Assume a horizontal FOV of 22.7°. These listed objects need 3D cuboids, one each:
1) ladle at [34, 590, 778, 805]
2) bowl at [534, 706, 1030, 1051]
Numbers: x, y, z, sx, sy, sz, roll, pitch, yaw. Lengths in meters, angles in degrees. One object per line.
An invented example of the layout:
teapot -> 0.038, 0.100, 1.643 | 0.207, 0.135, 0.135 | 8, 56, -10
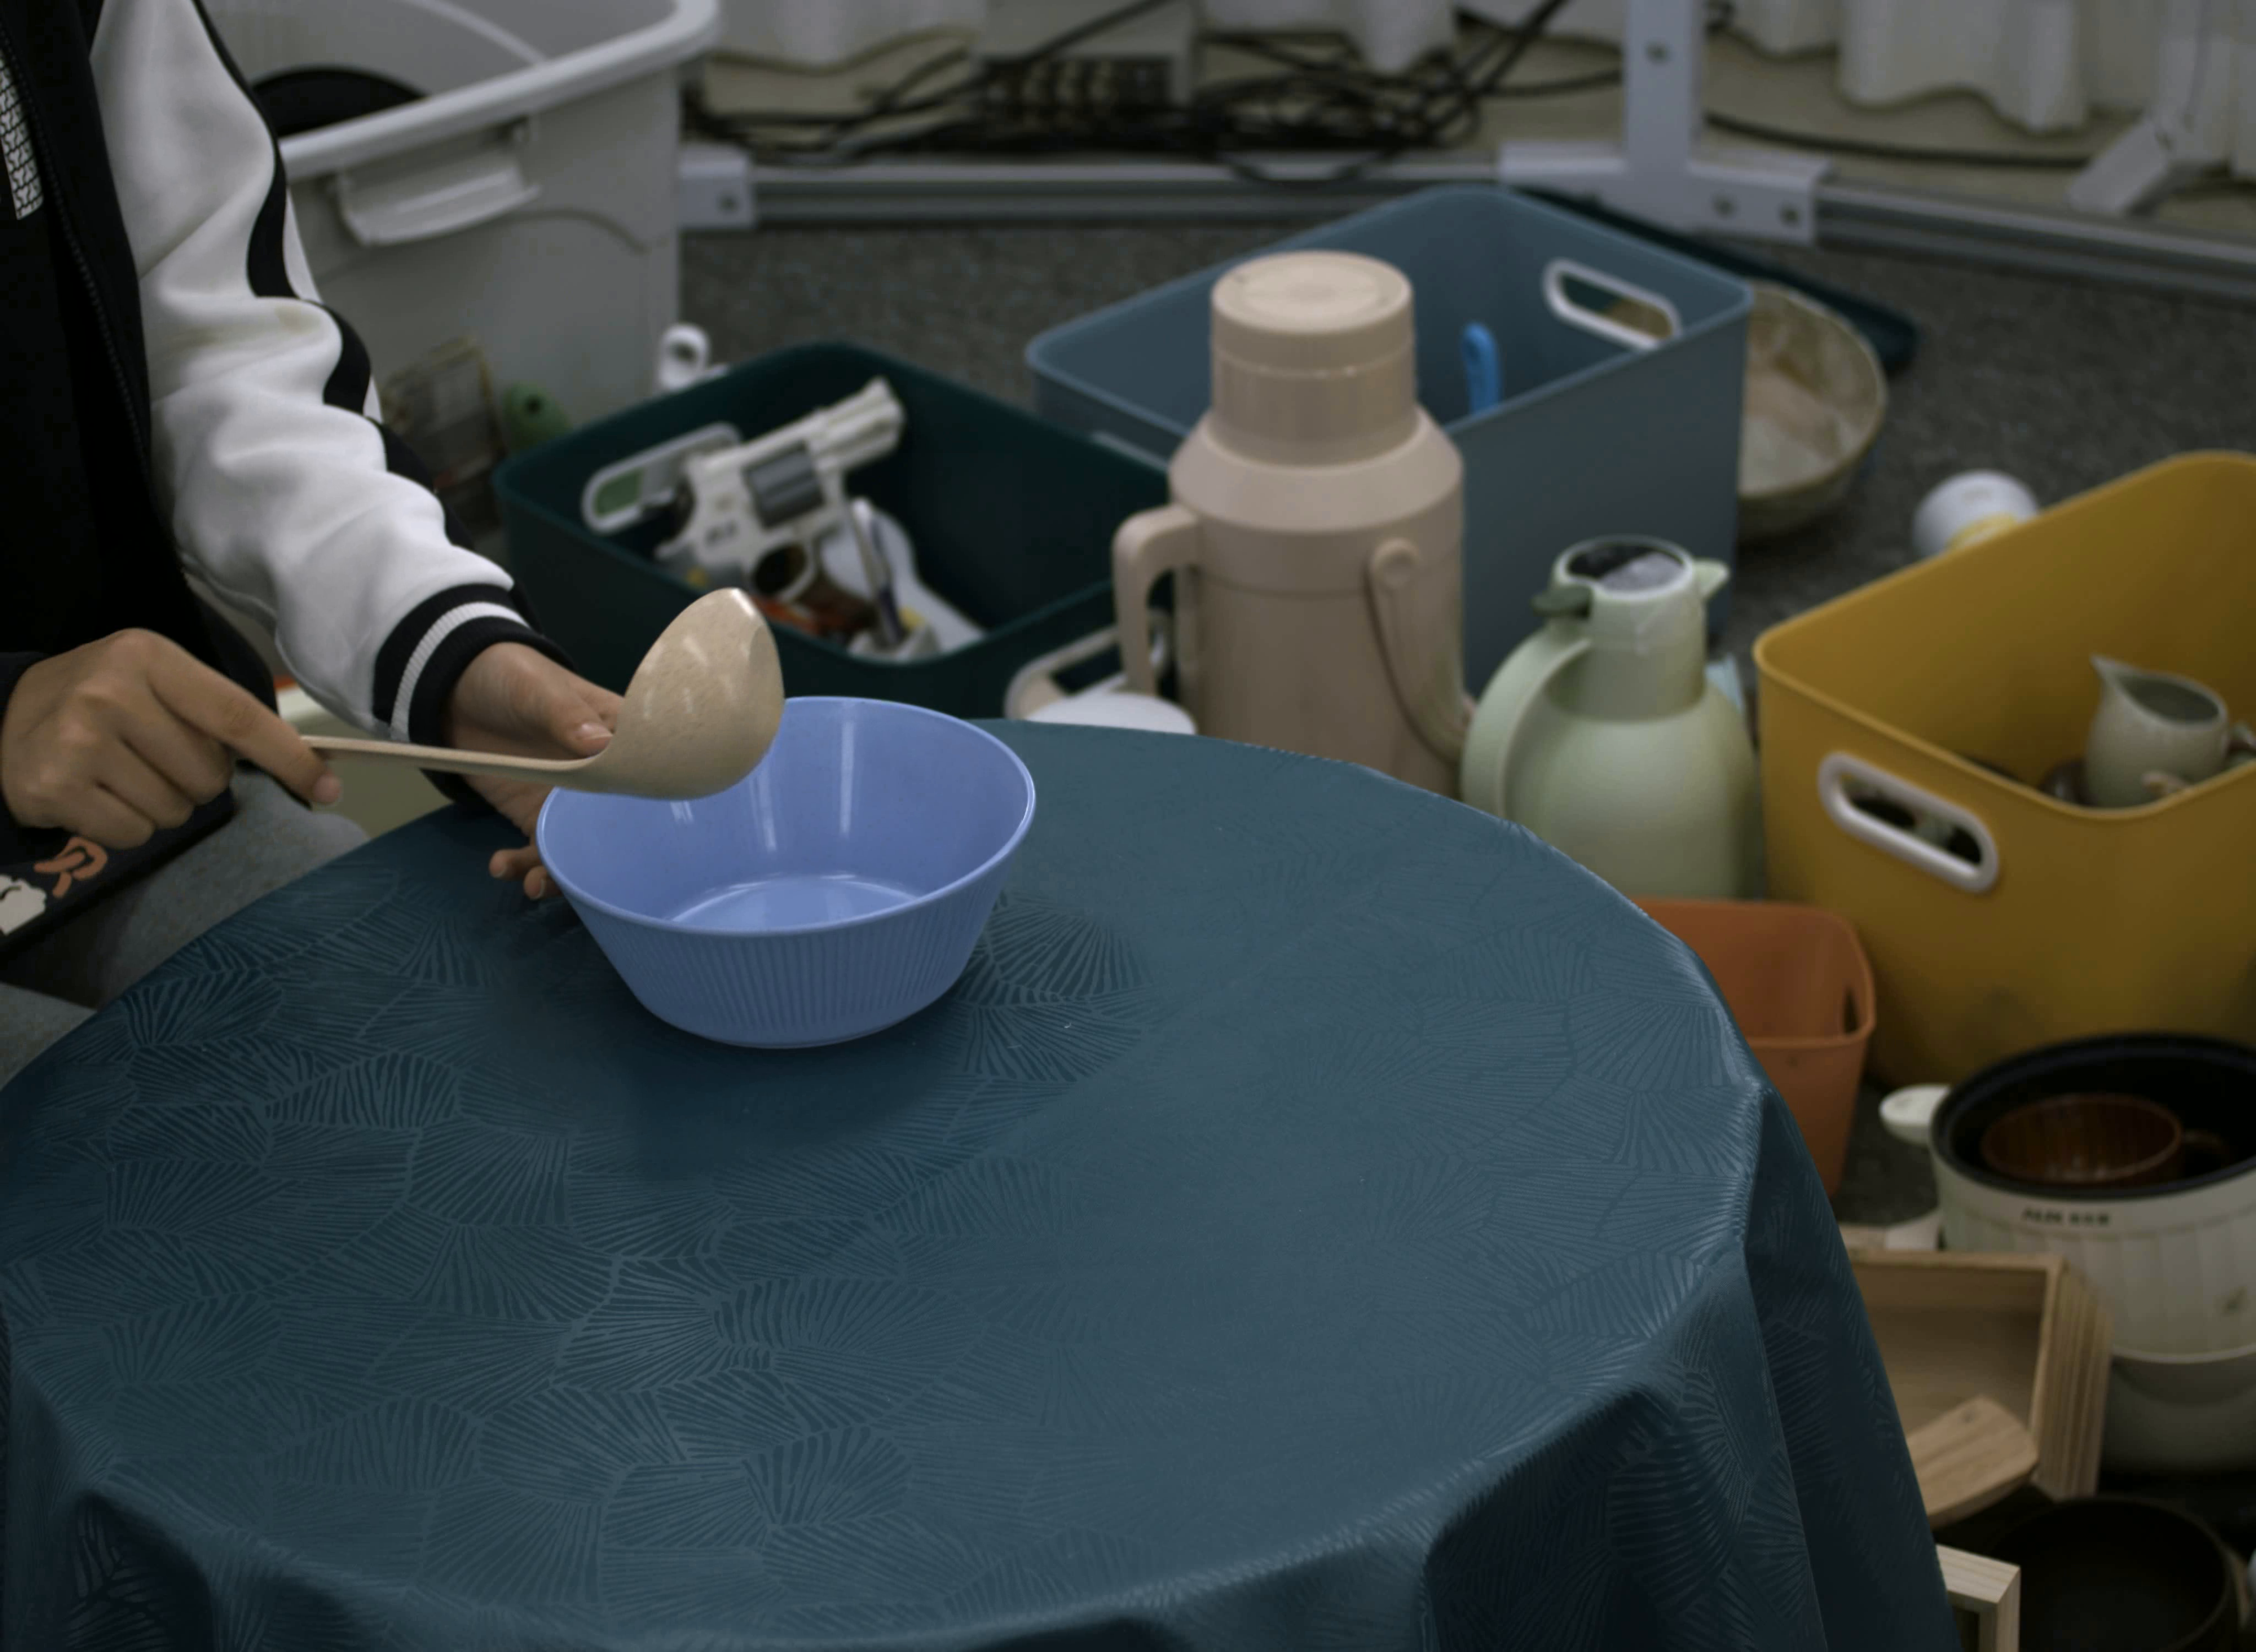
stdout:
ladle -> -0.243, -0.048, 1.895 | 0.253, 0.071, 0.074 | 3, 66, 13
bowl -> -0.120, 0.024, 1.987 | 0.175, 0.069, 0.178 | -2, 26, 1
